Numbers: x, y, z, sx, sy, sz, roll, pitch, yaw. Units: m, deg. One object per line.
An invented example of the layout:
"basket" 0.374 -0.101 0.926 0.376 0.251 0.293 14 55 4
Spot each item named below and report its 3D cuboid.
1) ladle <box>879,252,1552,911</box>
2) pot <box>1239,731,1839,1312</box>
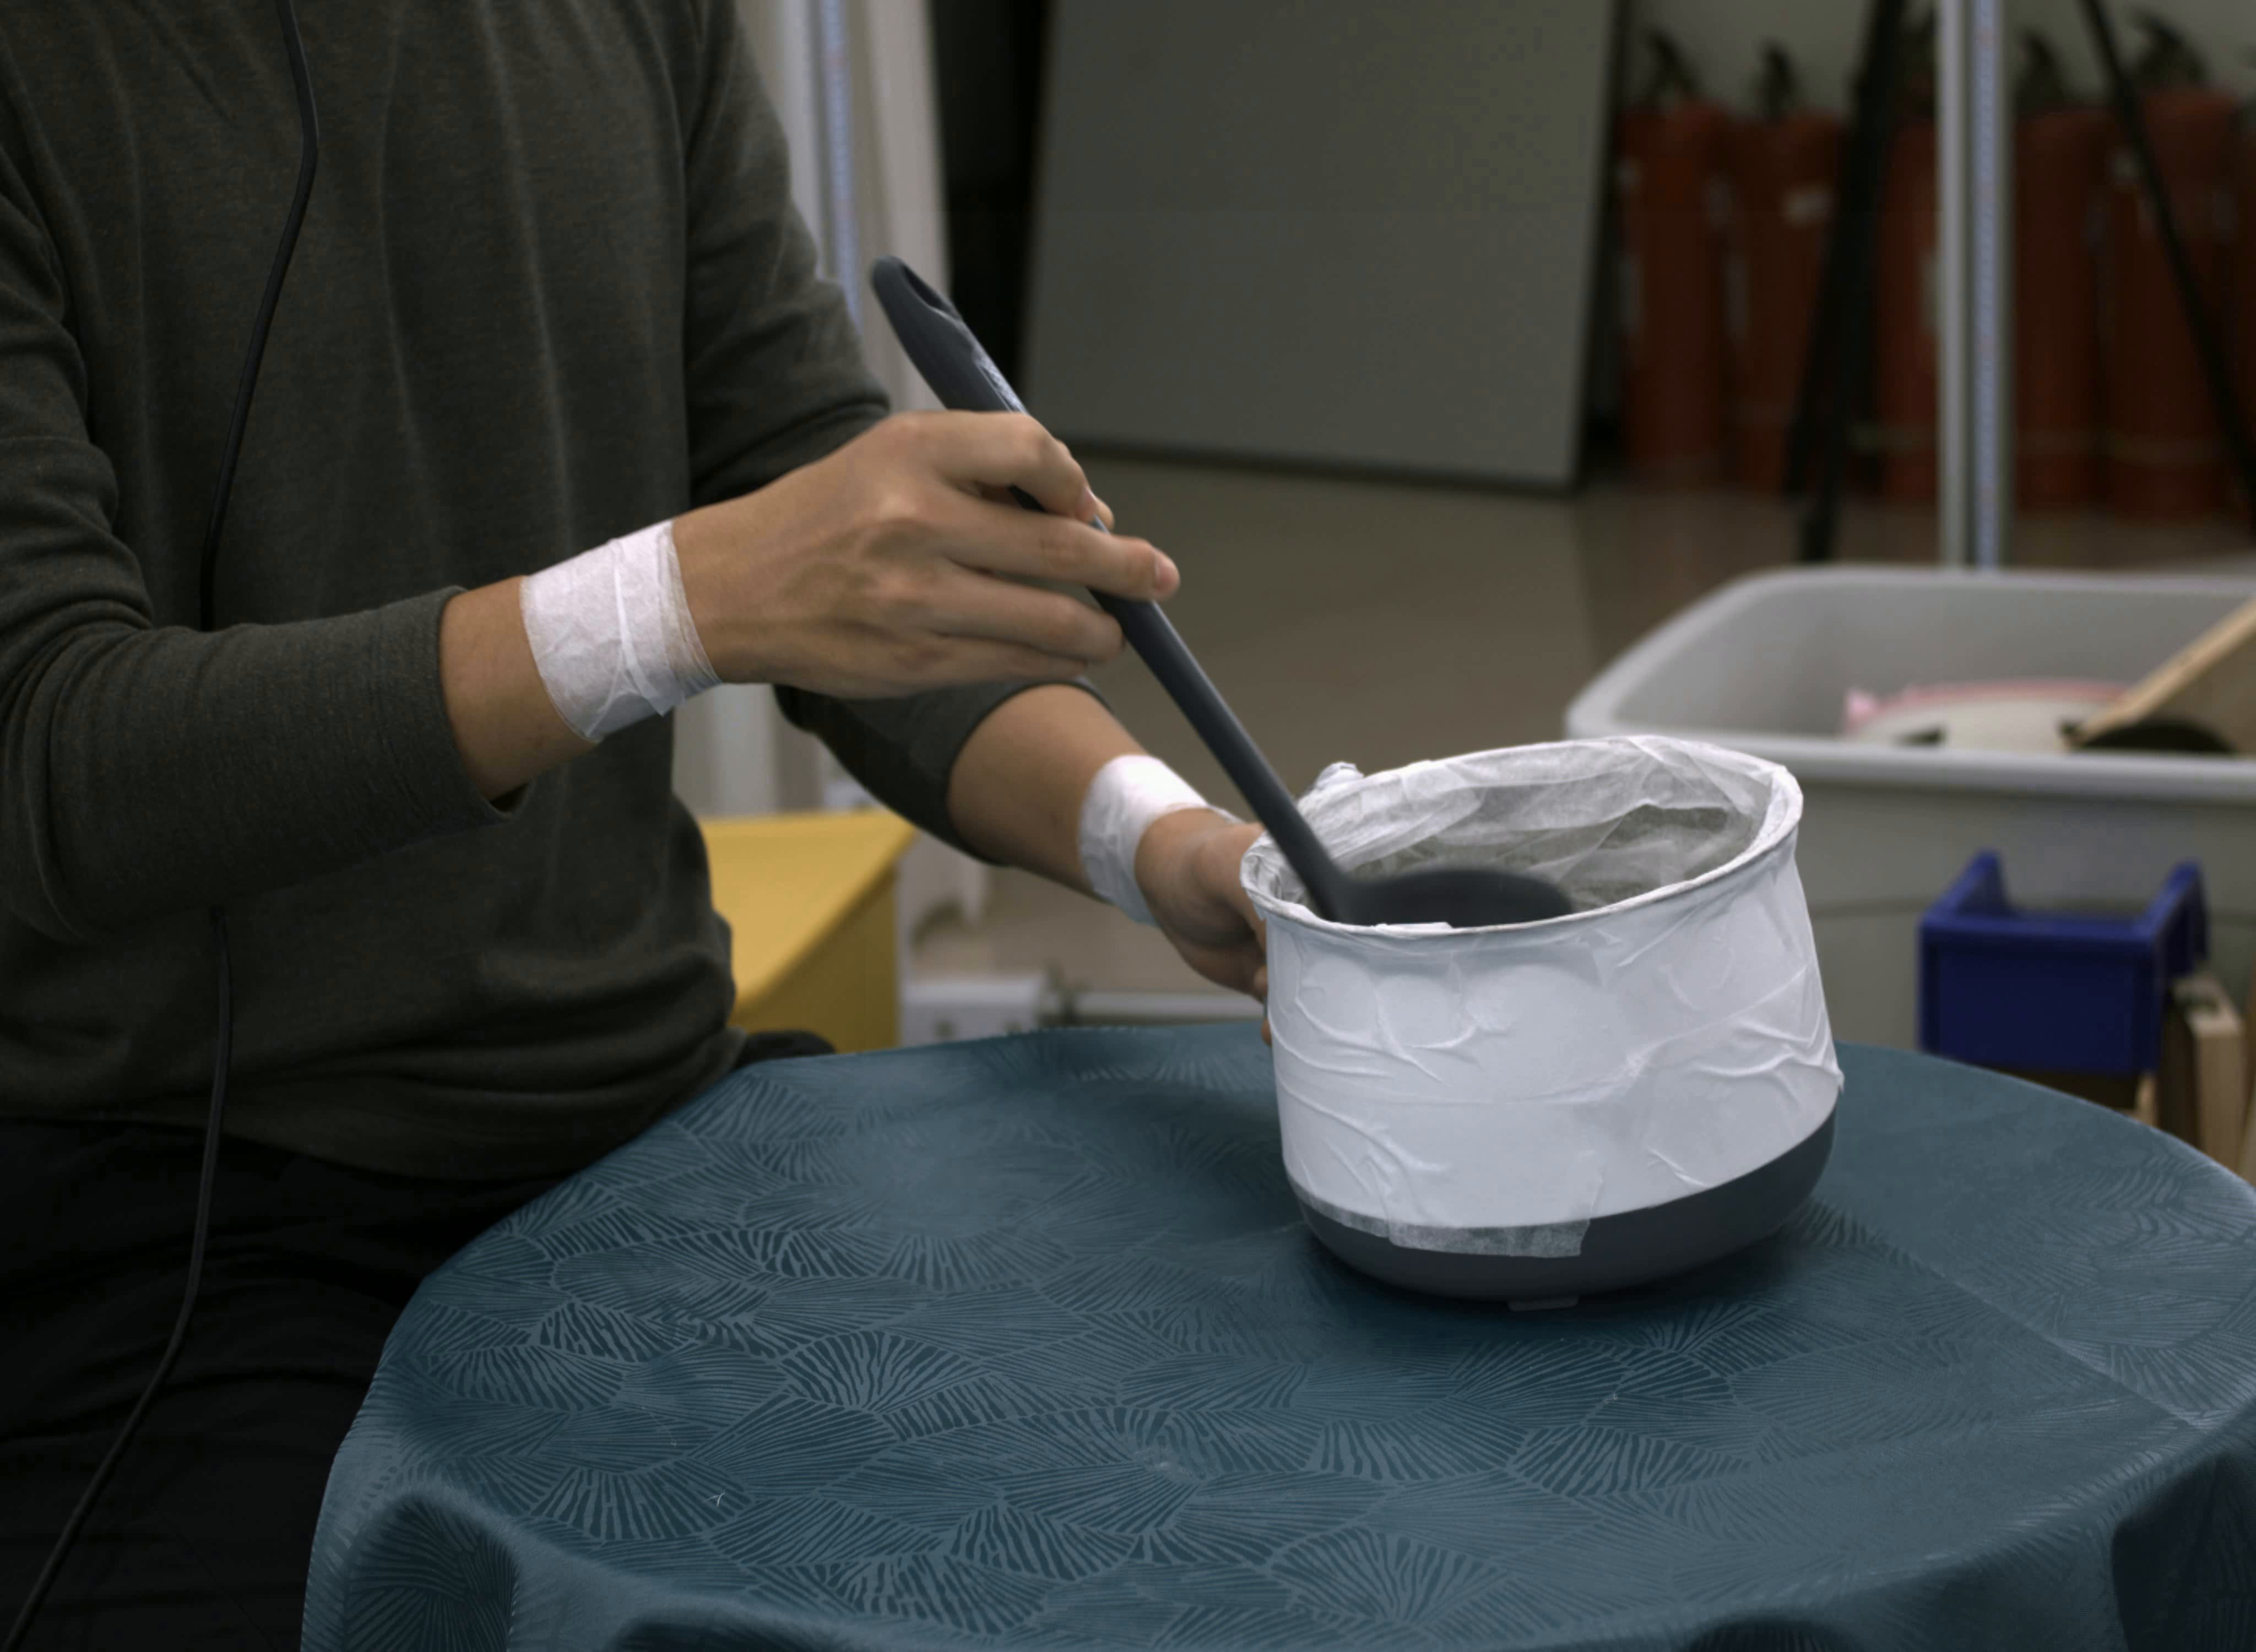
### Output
"ladle" 0.034 -0.057 1.643 0.064 0.313 0.086 -29 17 21
"pot" 0.115 0.056 1.698 0.175 0.138 0.236 -19 18 -29
